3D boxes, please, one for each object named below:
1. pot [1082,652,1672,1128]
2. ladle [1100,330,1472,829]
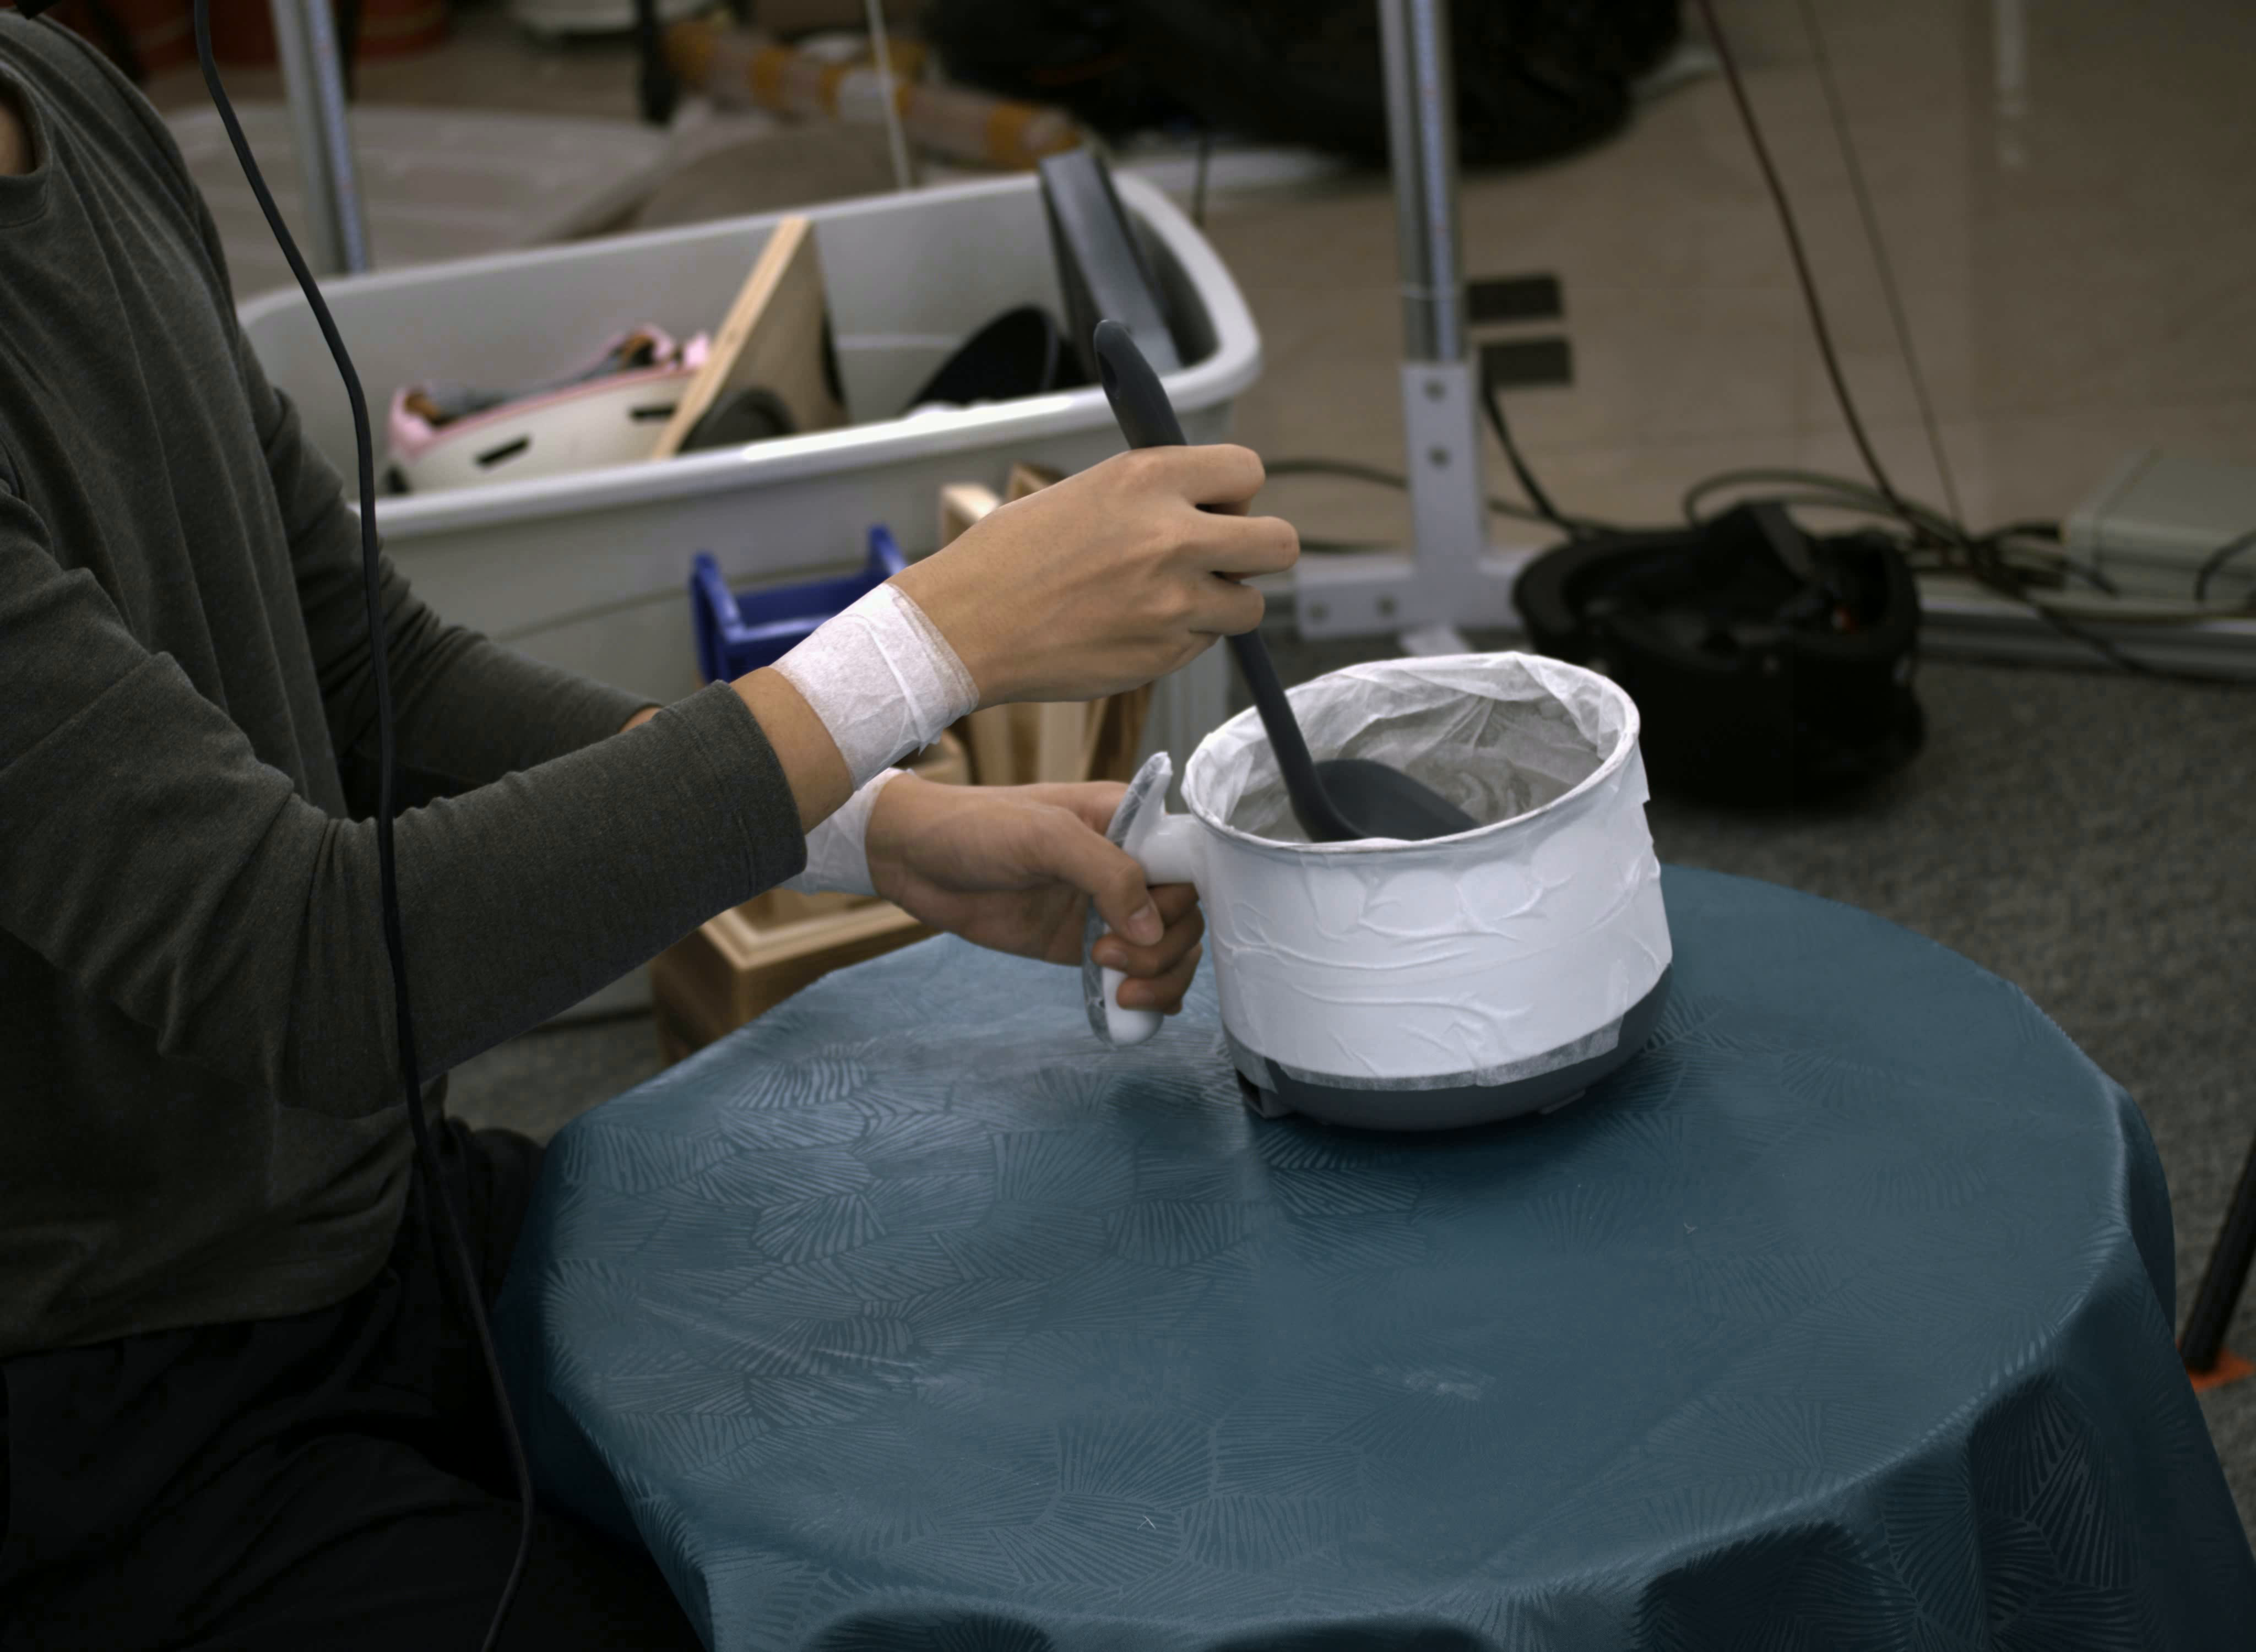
[{"bbox_3d":[0.091,0.028,2.197,0.233,0.139,0.176,-4,25,13],"label":"pot"},{"bbox_3d":[0.061,-0.085,2.100,0.063,0.319,0.085,-43,46,-16],"label":"ladle"}]
